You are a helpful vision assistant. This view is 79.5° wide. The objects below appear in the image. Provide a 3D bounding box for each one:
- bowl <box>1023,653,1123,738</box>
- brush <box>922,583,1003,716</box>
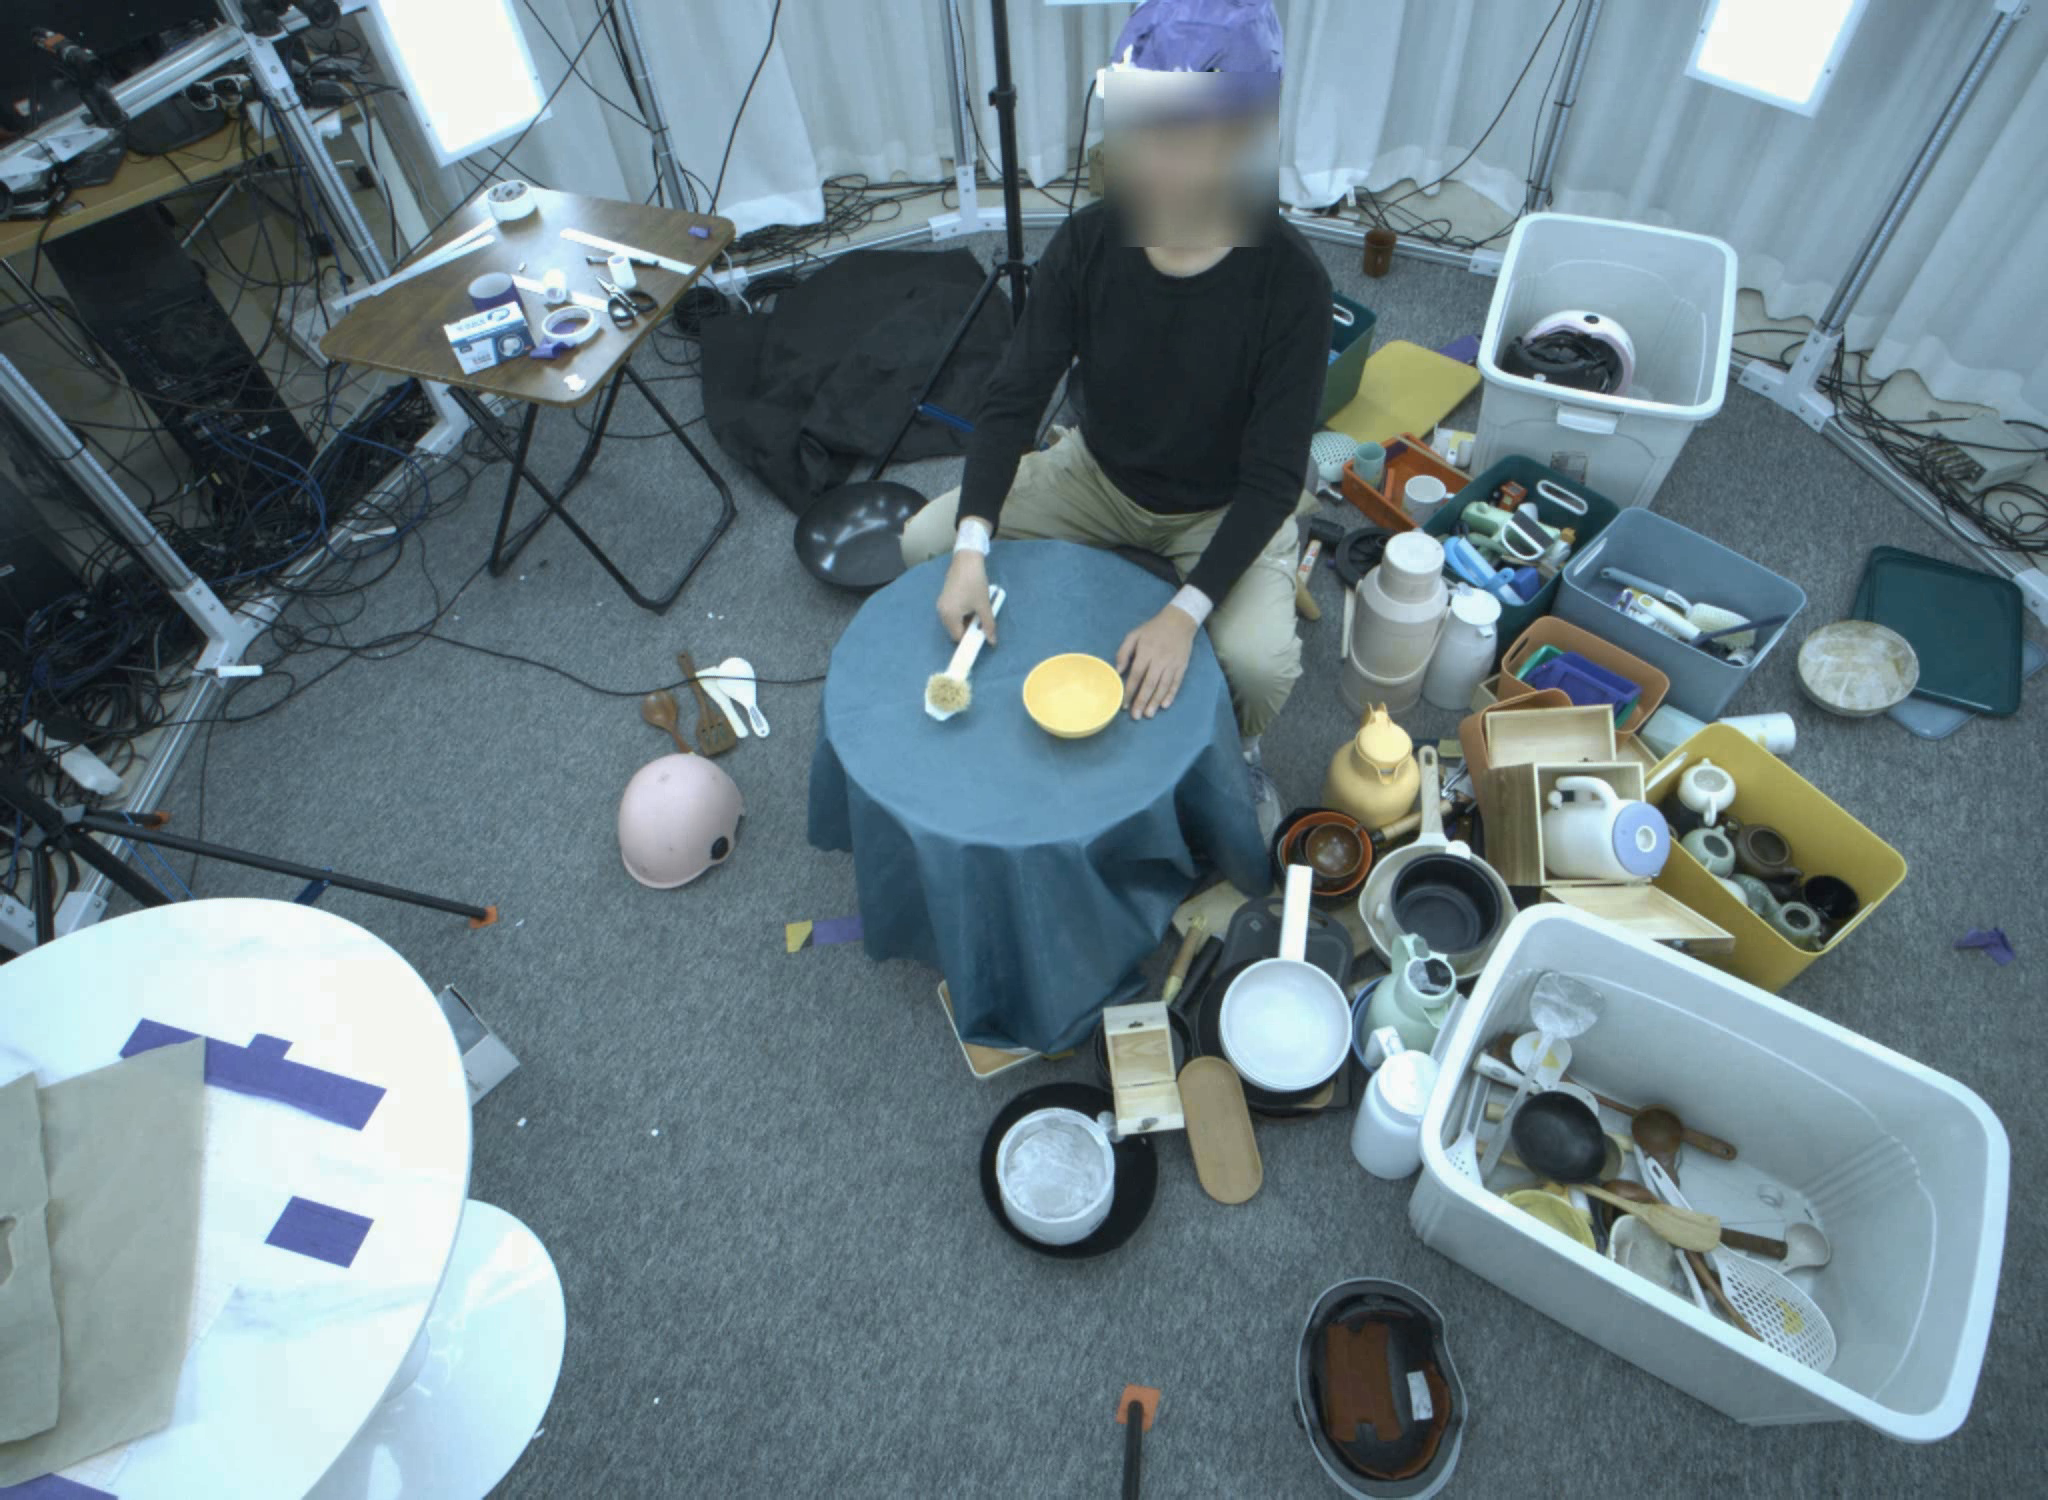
[{"bbox_3d":[0.071,-0.068,1.798,0.145,0.061,0.144,0,55,1],"label":"bowl"},{"bbox_3d":[-0.083,-0.164,1.855,0.069,0.055,0.266,33,60,-15],"label":"brush"}]
